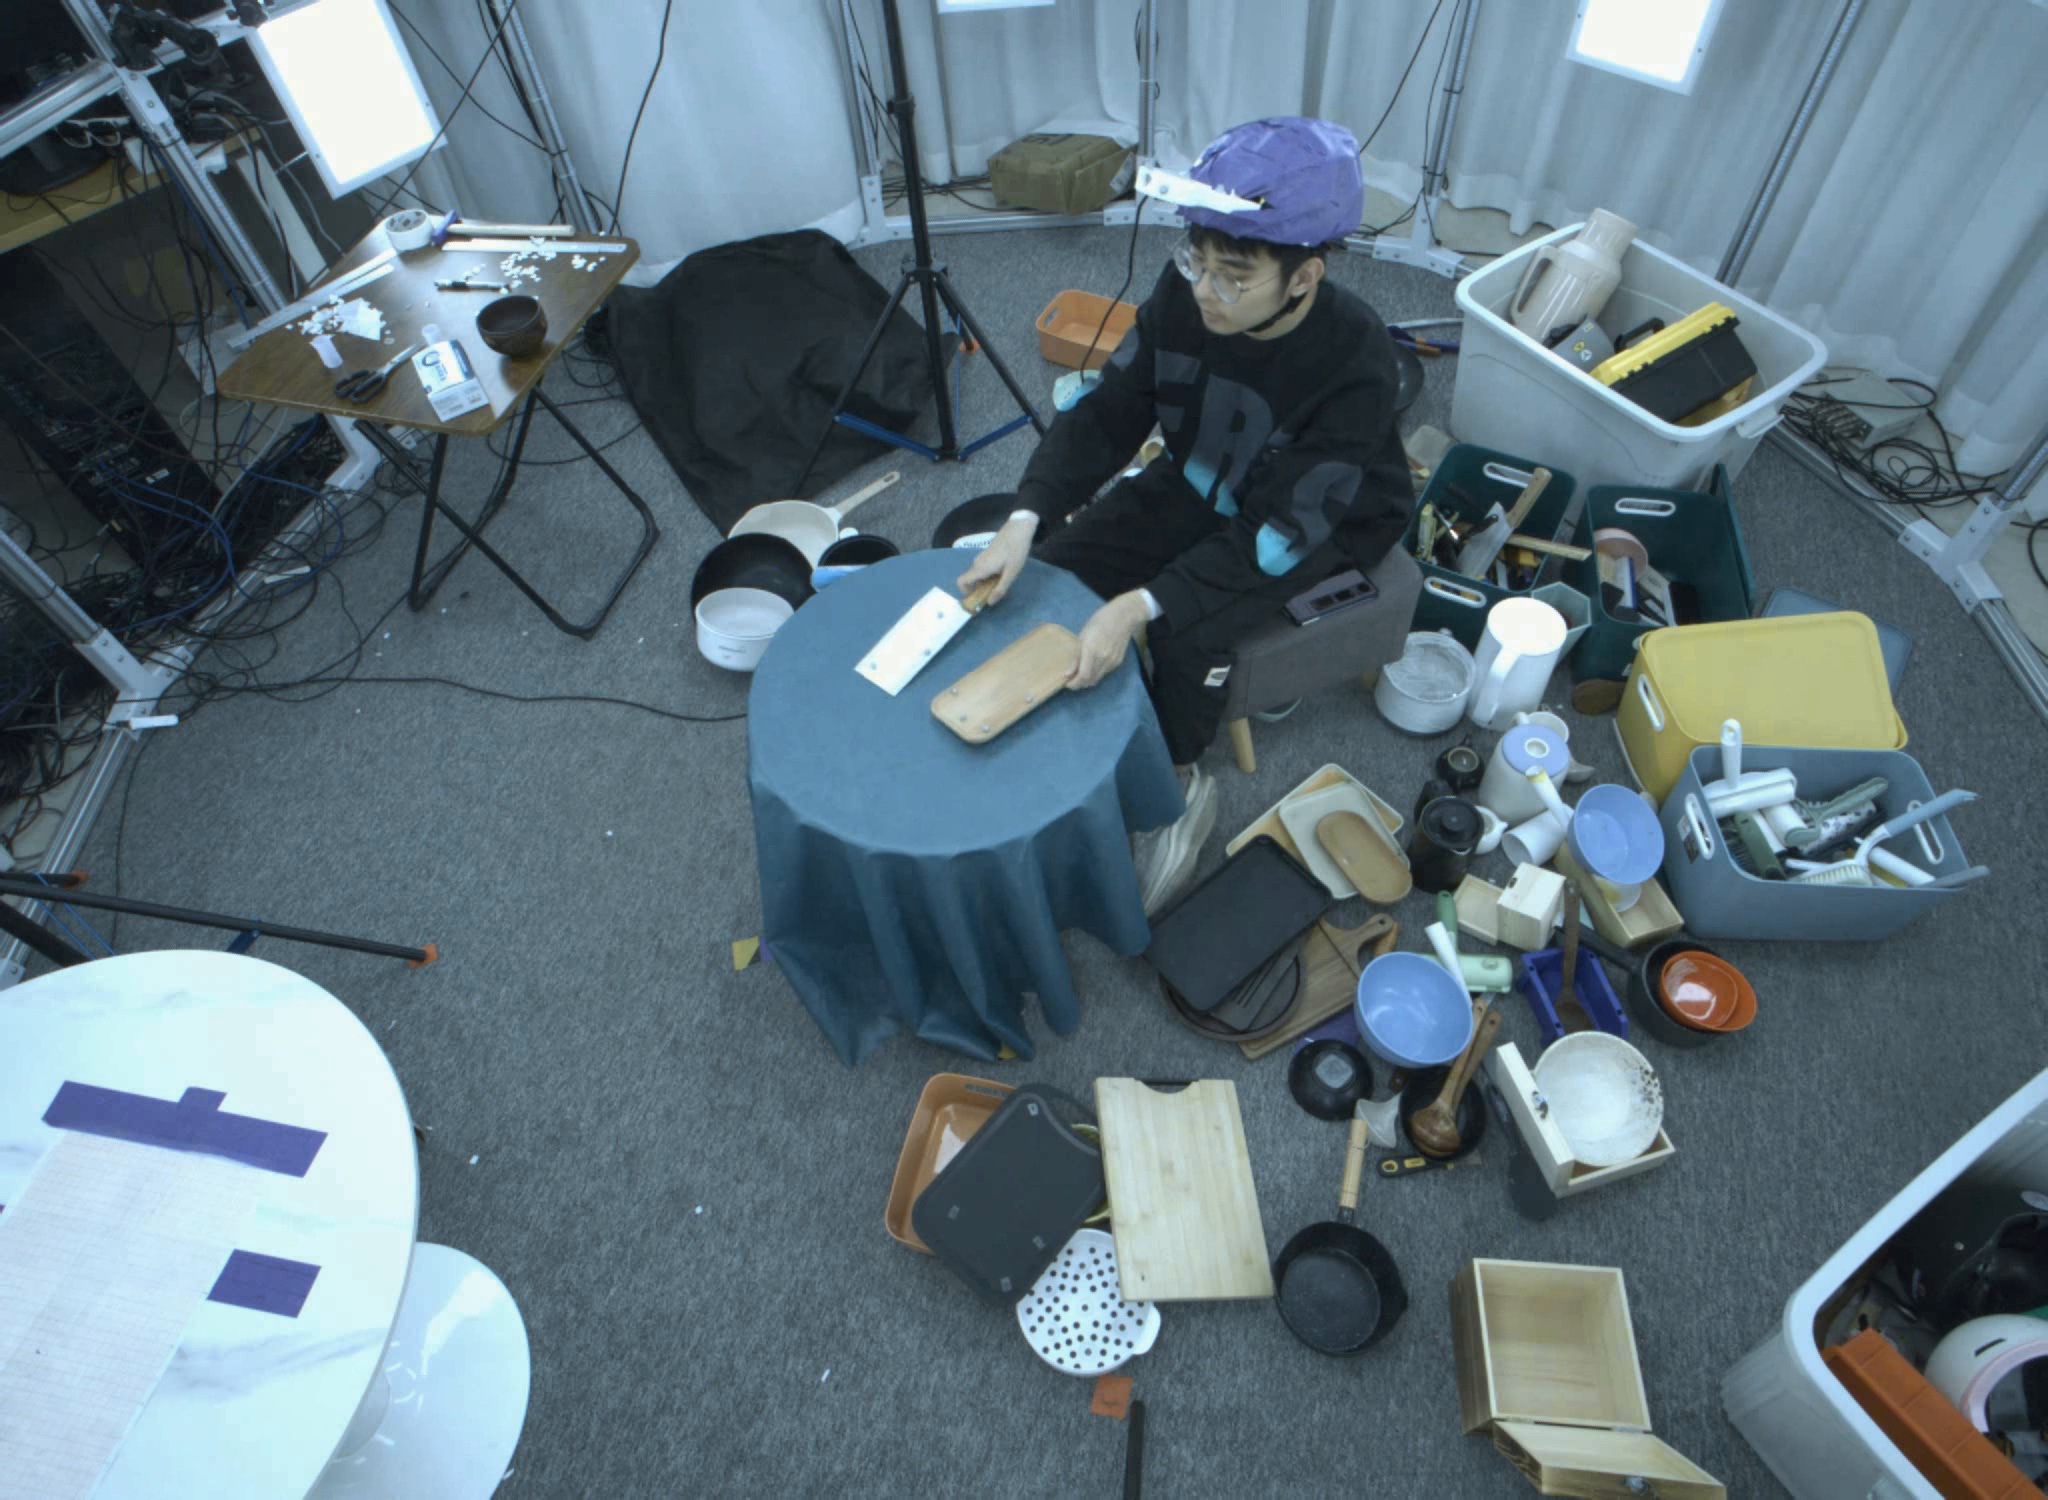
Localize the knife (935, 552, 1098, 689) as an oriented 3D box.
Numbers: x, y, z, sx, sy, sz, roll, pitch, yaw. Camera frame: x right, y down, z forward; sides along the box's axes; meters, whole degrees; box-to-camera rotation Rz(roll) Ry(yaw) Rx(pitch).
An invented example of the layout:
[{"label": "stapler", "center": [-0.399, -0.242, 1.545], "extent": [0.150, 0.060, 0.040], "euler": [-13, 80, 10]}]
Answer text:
[{"label": "knife", "center": [-0.016, -0.215, 1.909], "extent": [0.091, 0.021, 0.307], "euler": [38, 73, 25]}]

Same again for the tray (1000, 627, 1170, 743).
[{"label": "tray", "center": [0.091, -0.098, 1.831], "extent": [0.253, 0.023, 0.128], "euler": [-30, 51, -18]}]
